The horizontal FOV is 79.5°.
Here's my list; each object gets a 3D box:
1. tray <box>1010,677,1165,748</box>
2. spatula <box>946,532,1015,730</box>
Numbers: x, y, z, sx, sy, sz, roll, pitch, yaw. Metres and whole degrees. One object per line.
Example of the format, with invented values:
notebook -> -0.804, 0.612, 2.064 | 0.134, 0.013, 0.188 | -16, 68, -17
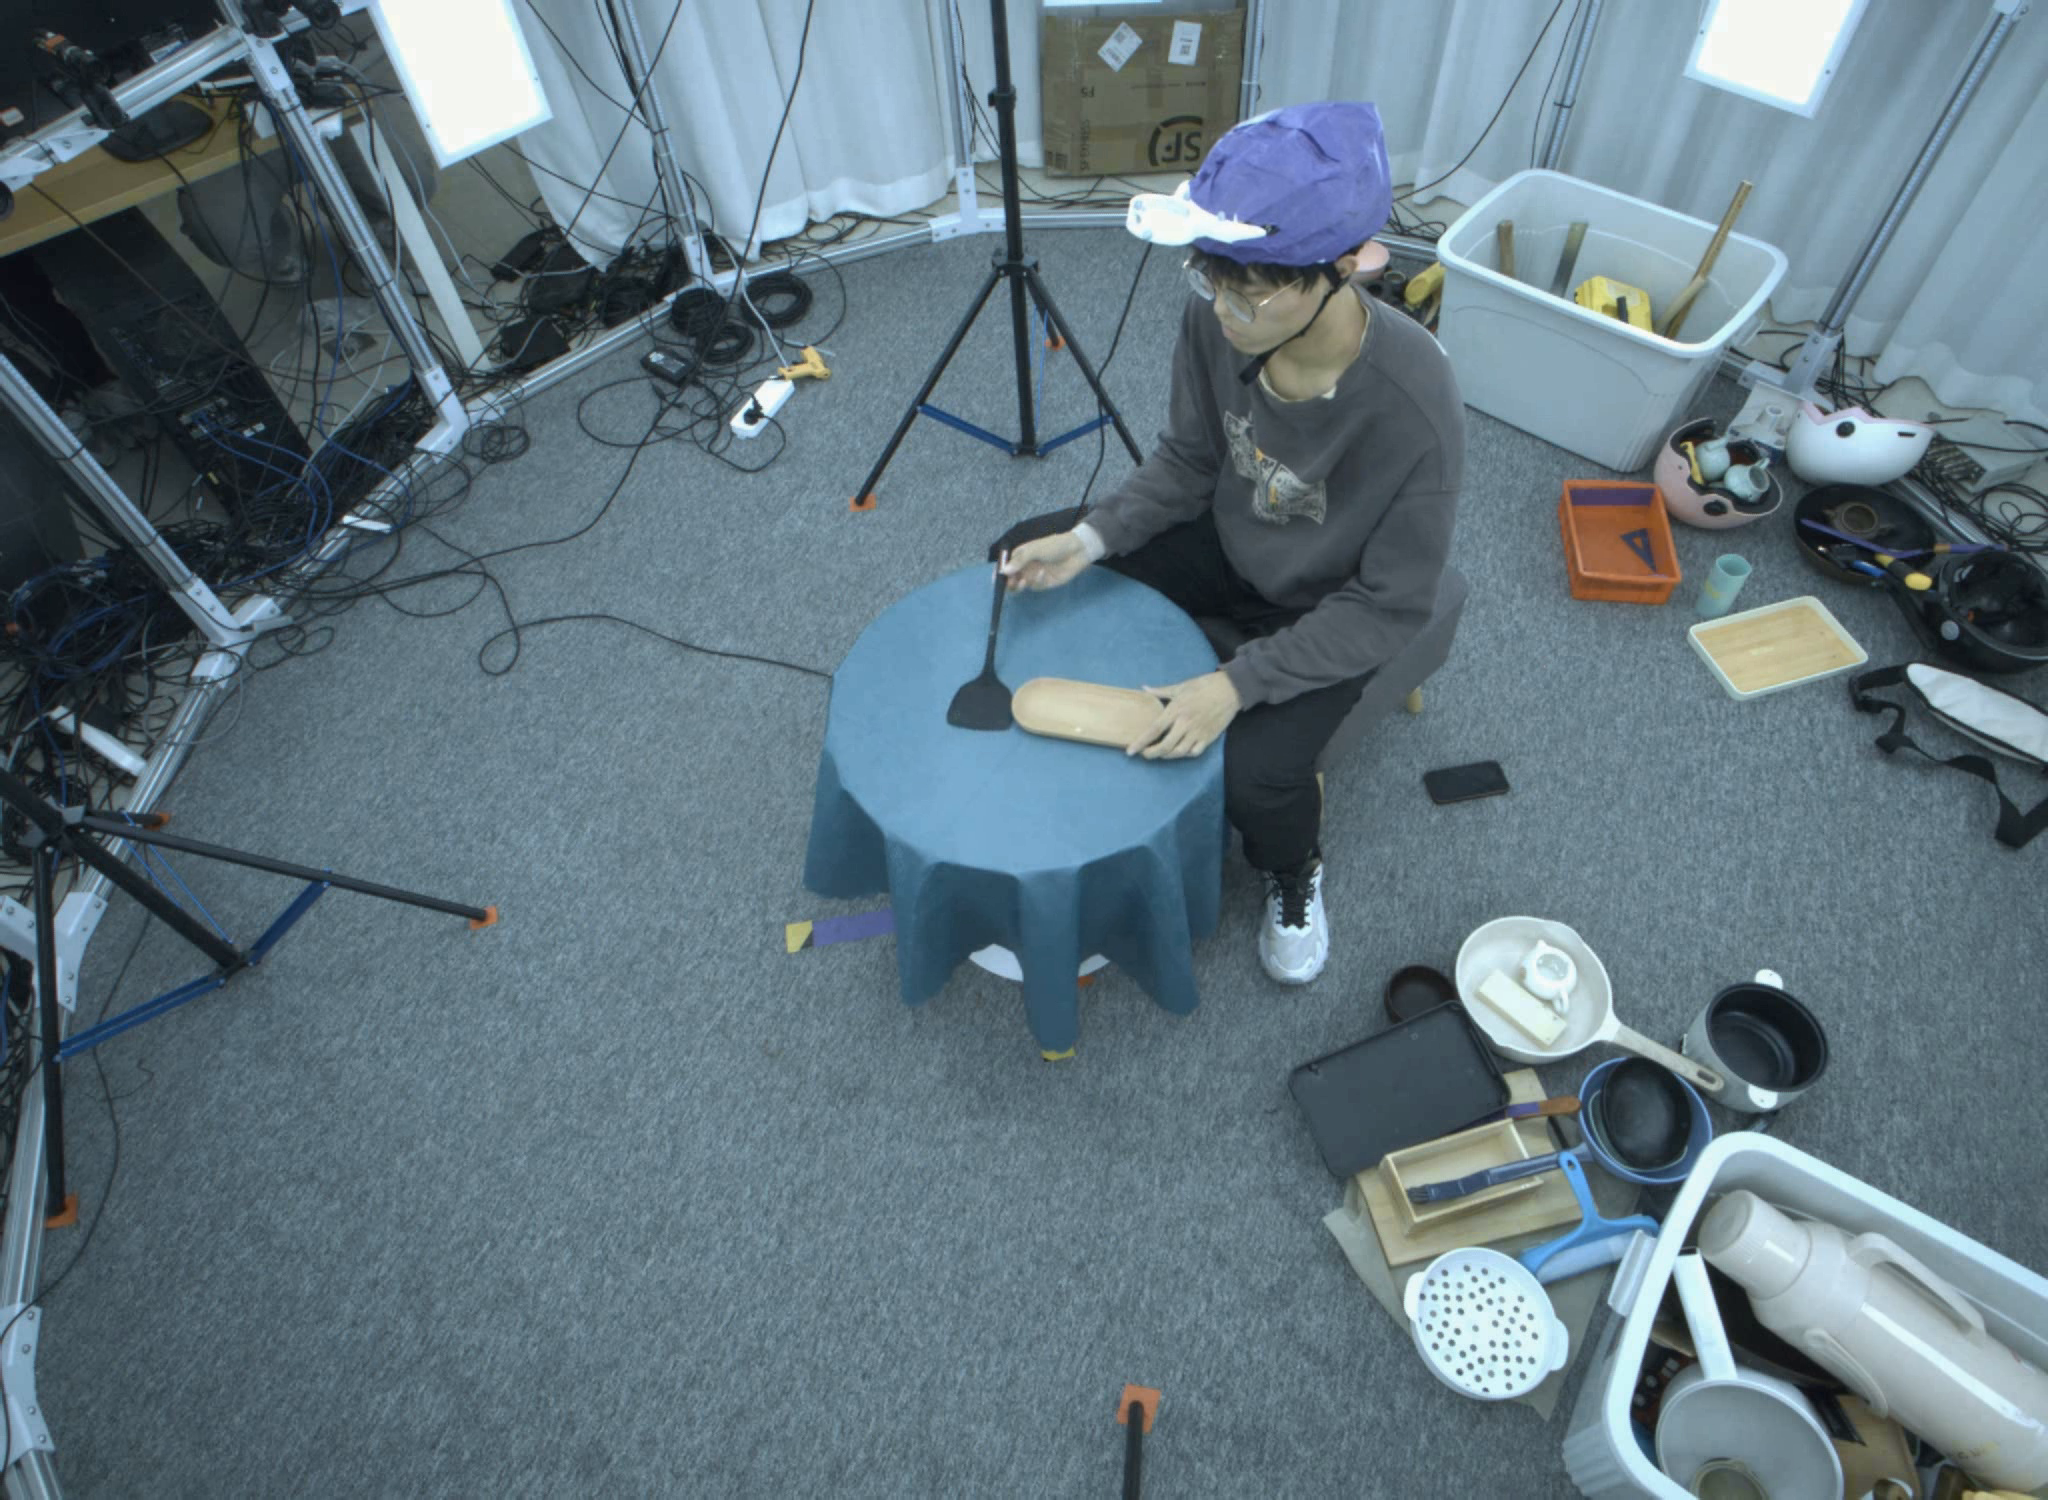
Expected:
tray -> 0.093, -0.055, 1.811 | 0.229, 0.020, 0.101 | 9, 54, 10
spatula -> -0.046, -0.184, 1.859 | 0.099, 0.040, 0.325 | 7, 79, 5
